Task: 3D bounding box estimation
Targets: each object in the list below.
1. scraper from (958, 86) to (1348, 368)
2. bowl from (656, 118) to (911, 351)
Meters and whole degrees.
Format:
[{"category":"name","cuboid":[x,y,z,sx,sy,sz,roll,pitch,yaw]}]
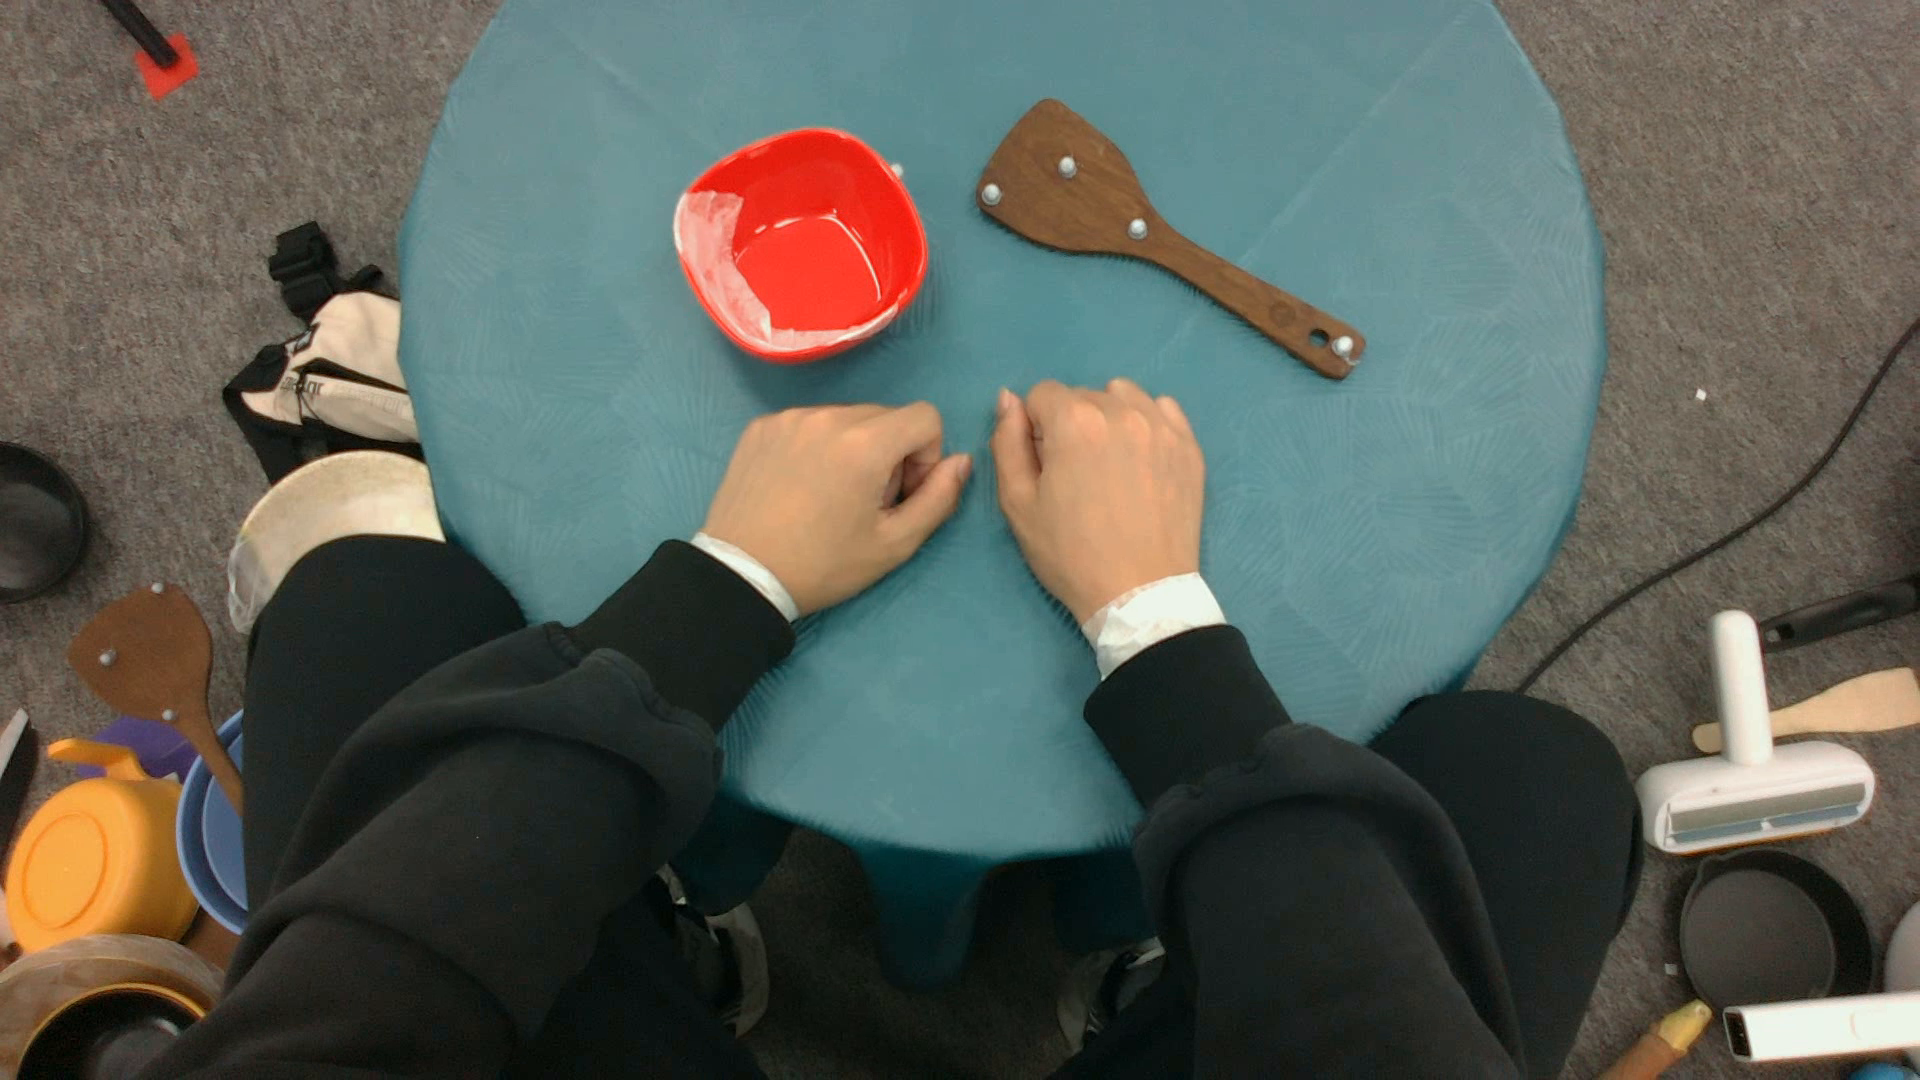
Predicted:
[{"category":"scraper","cuboid":[0.100,-0.150,0.691,0.211,0.011,0.076,33,77,7]},{"category":"bowl","cuboid":[-0.083,-0.138,0.658,0.119,0.051,0.119,1,72,-3]}]
